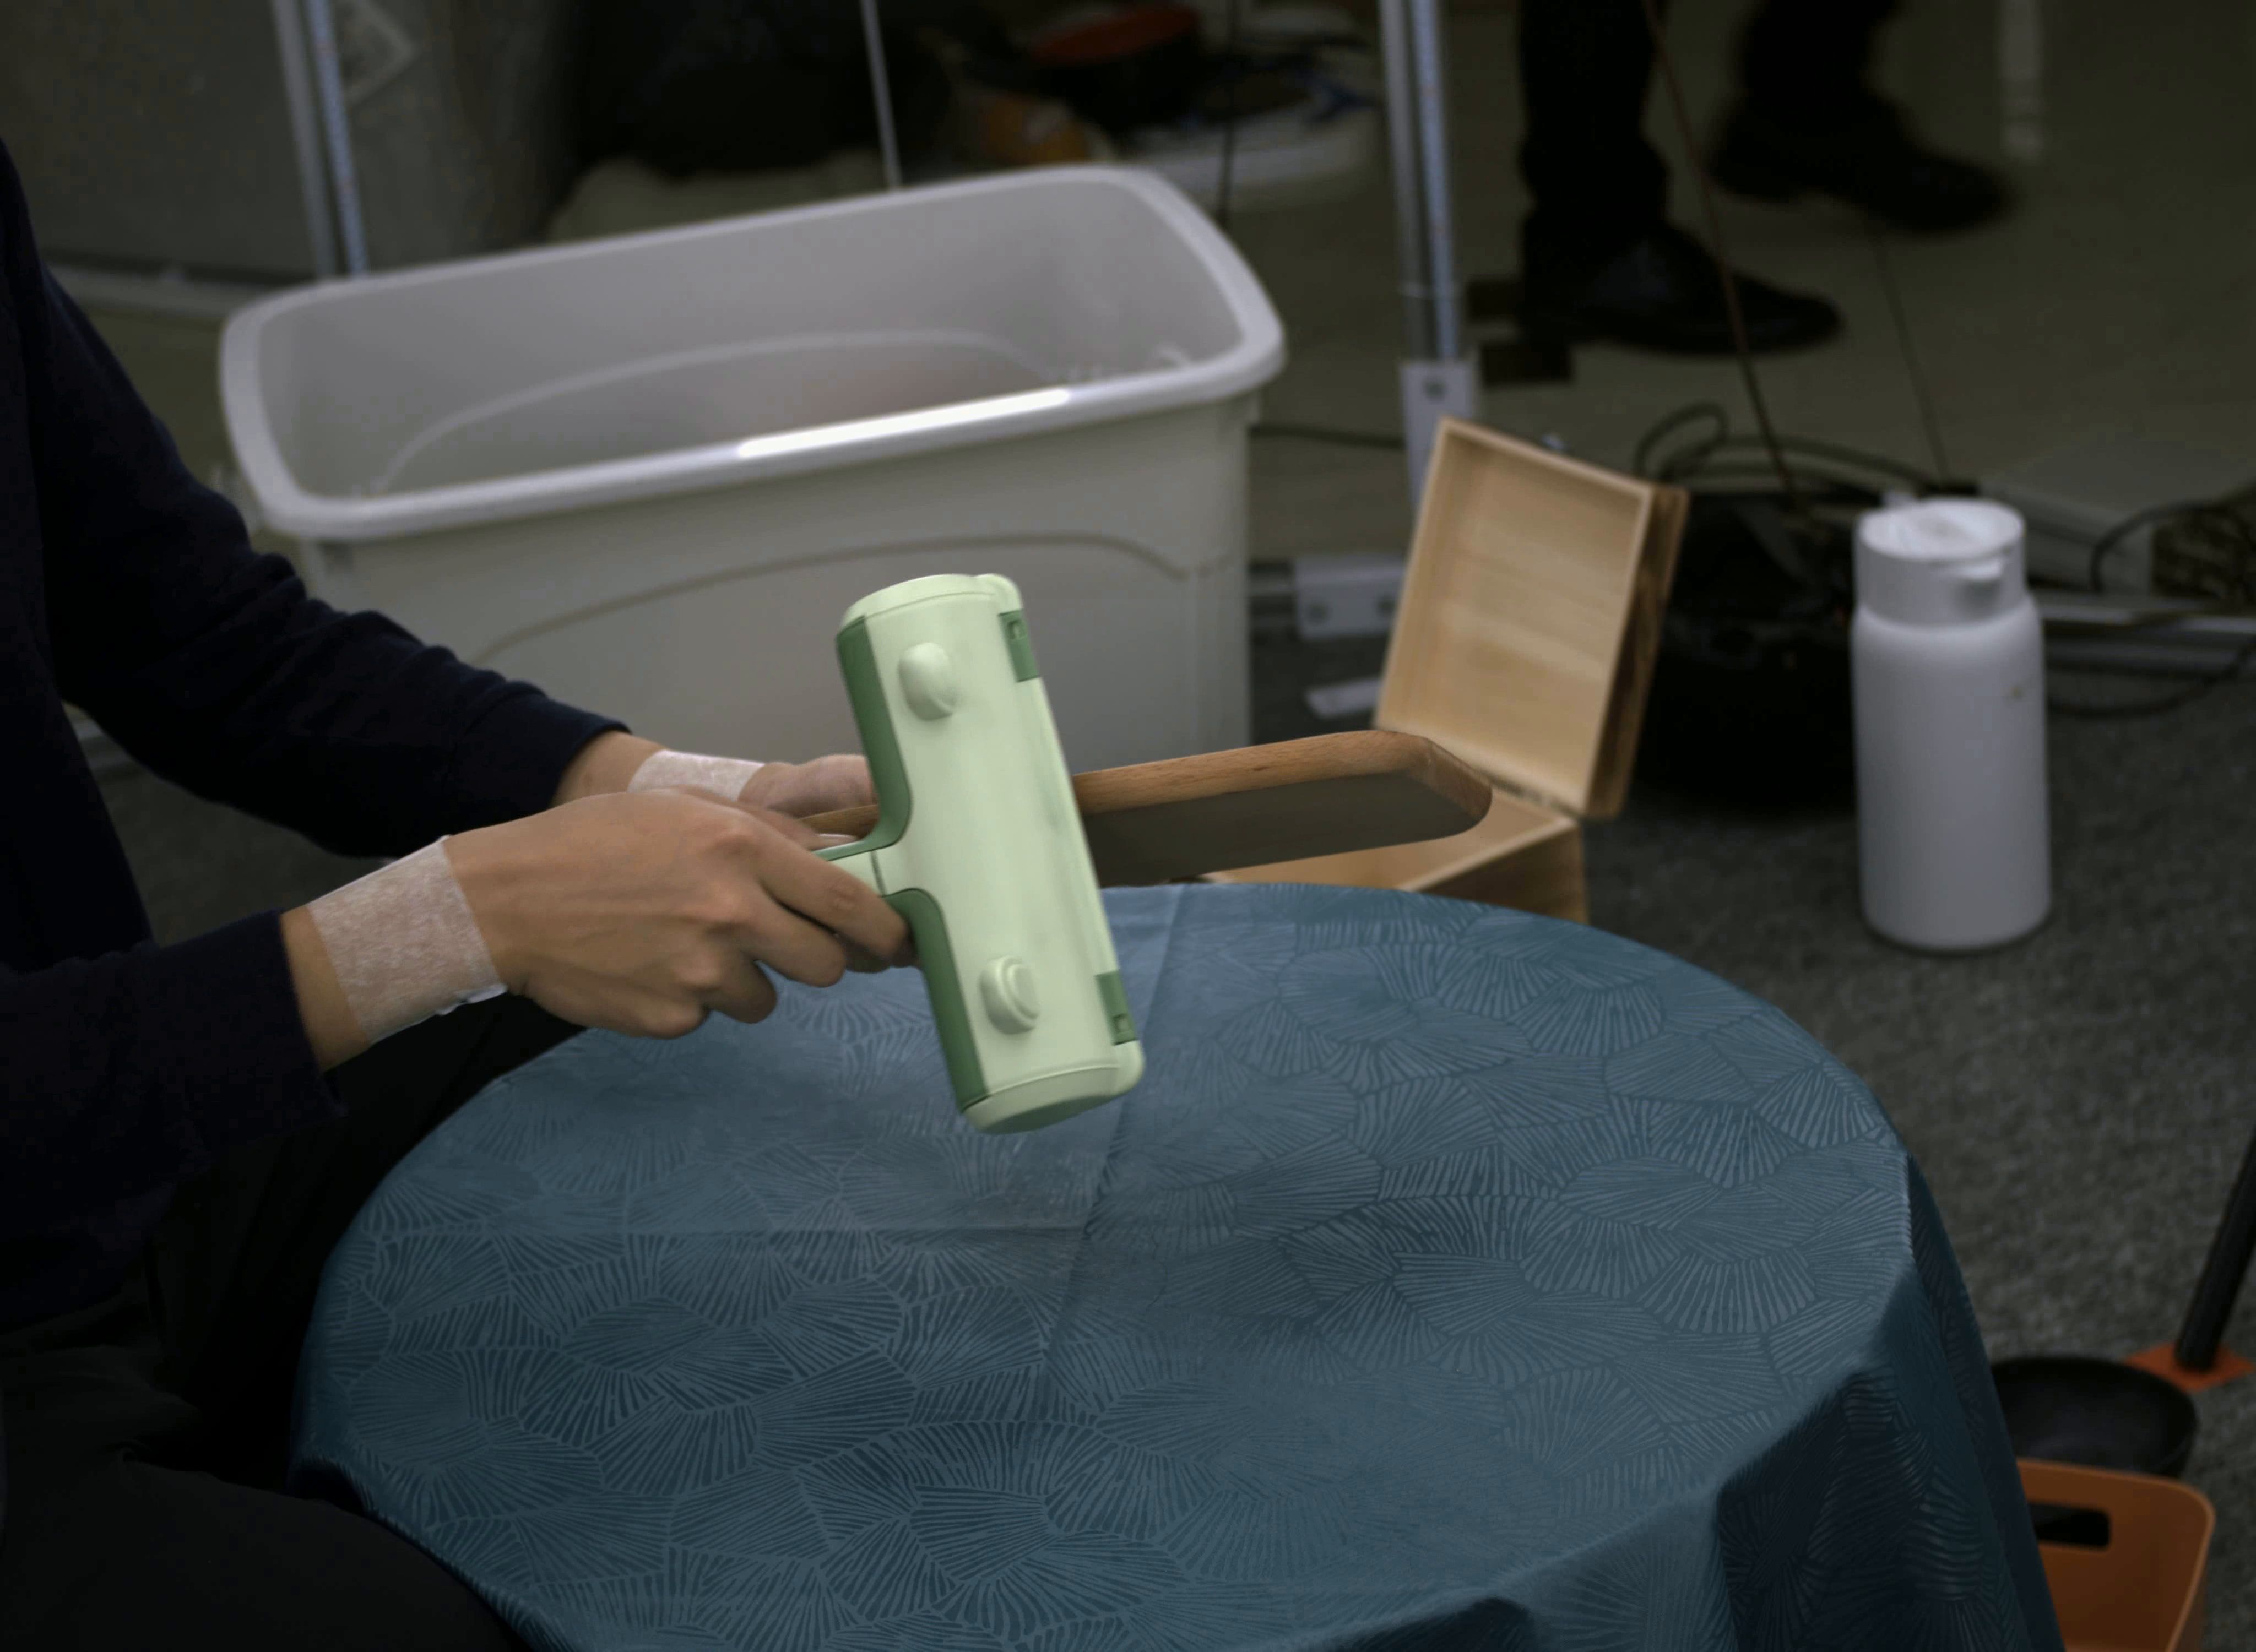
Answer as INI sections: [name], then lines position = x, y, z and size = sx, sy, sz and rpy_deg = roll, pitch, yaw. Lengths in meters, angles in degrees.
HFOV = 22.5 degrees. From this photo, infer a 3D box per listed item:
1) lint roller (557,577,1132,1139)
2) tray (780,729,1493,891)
[lint roller]
position = -0.108, 0.020, 1.983
size = 0.183, 0.197, 0.083
rpy_deg = -13, -11, -13
[tray]
position = 0.003, -0.001, 2.074
size = 0.250, 0.022, 0.131
rpy_deg = -9, -17, 20
